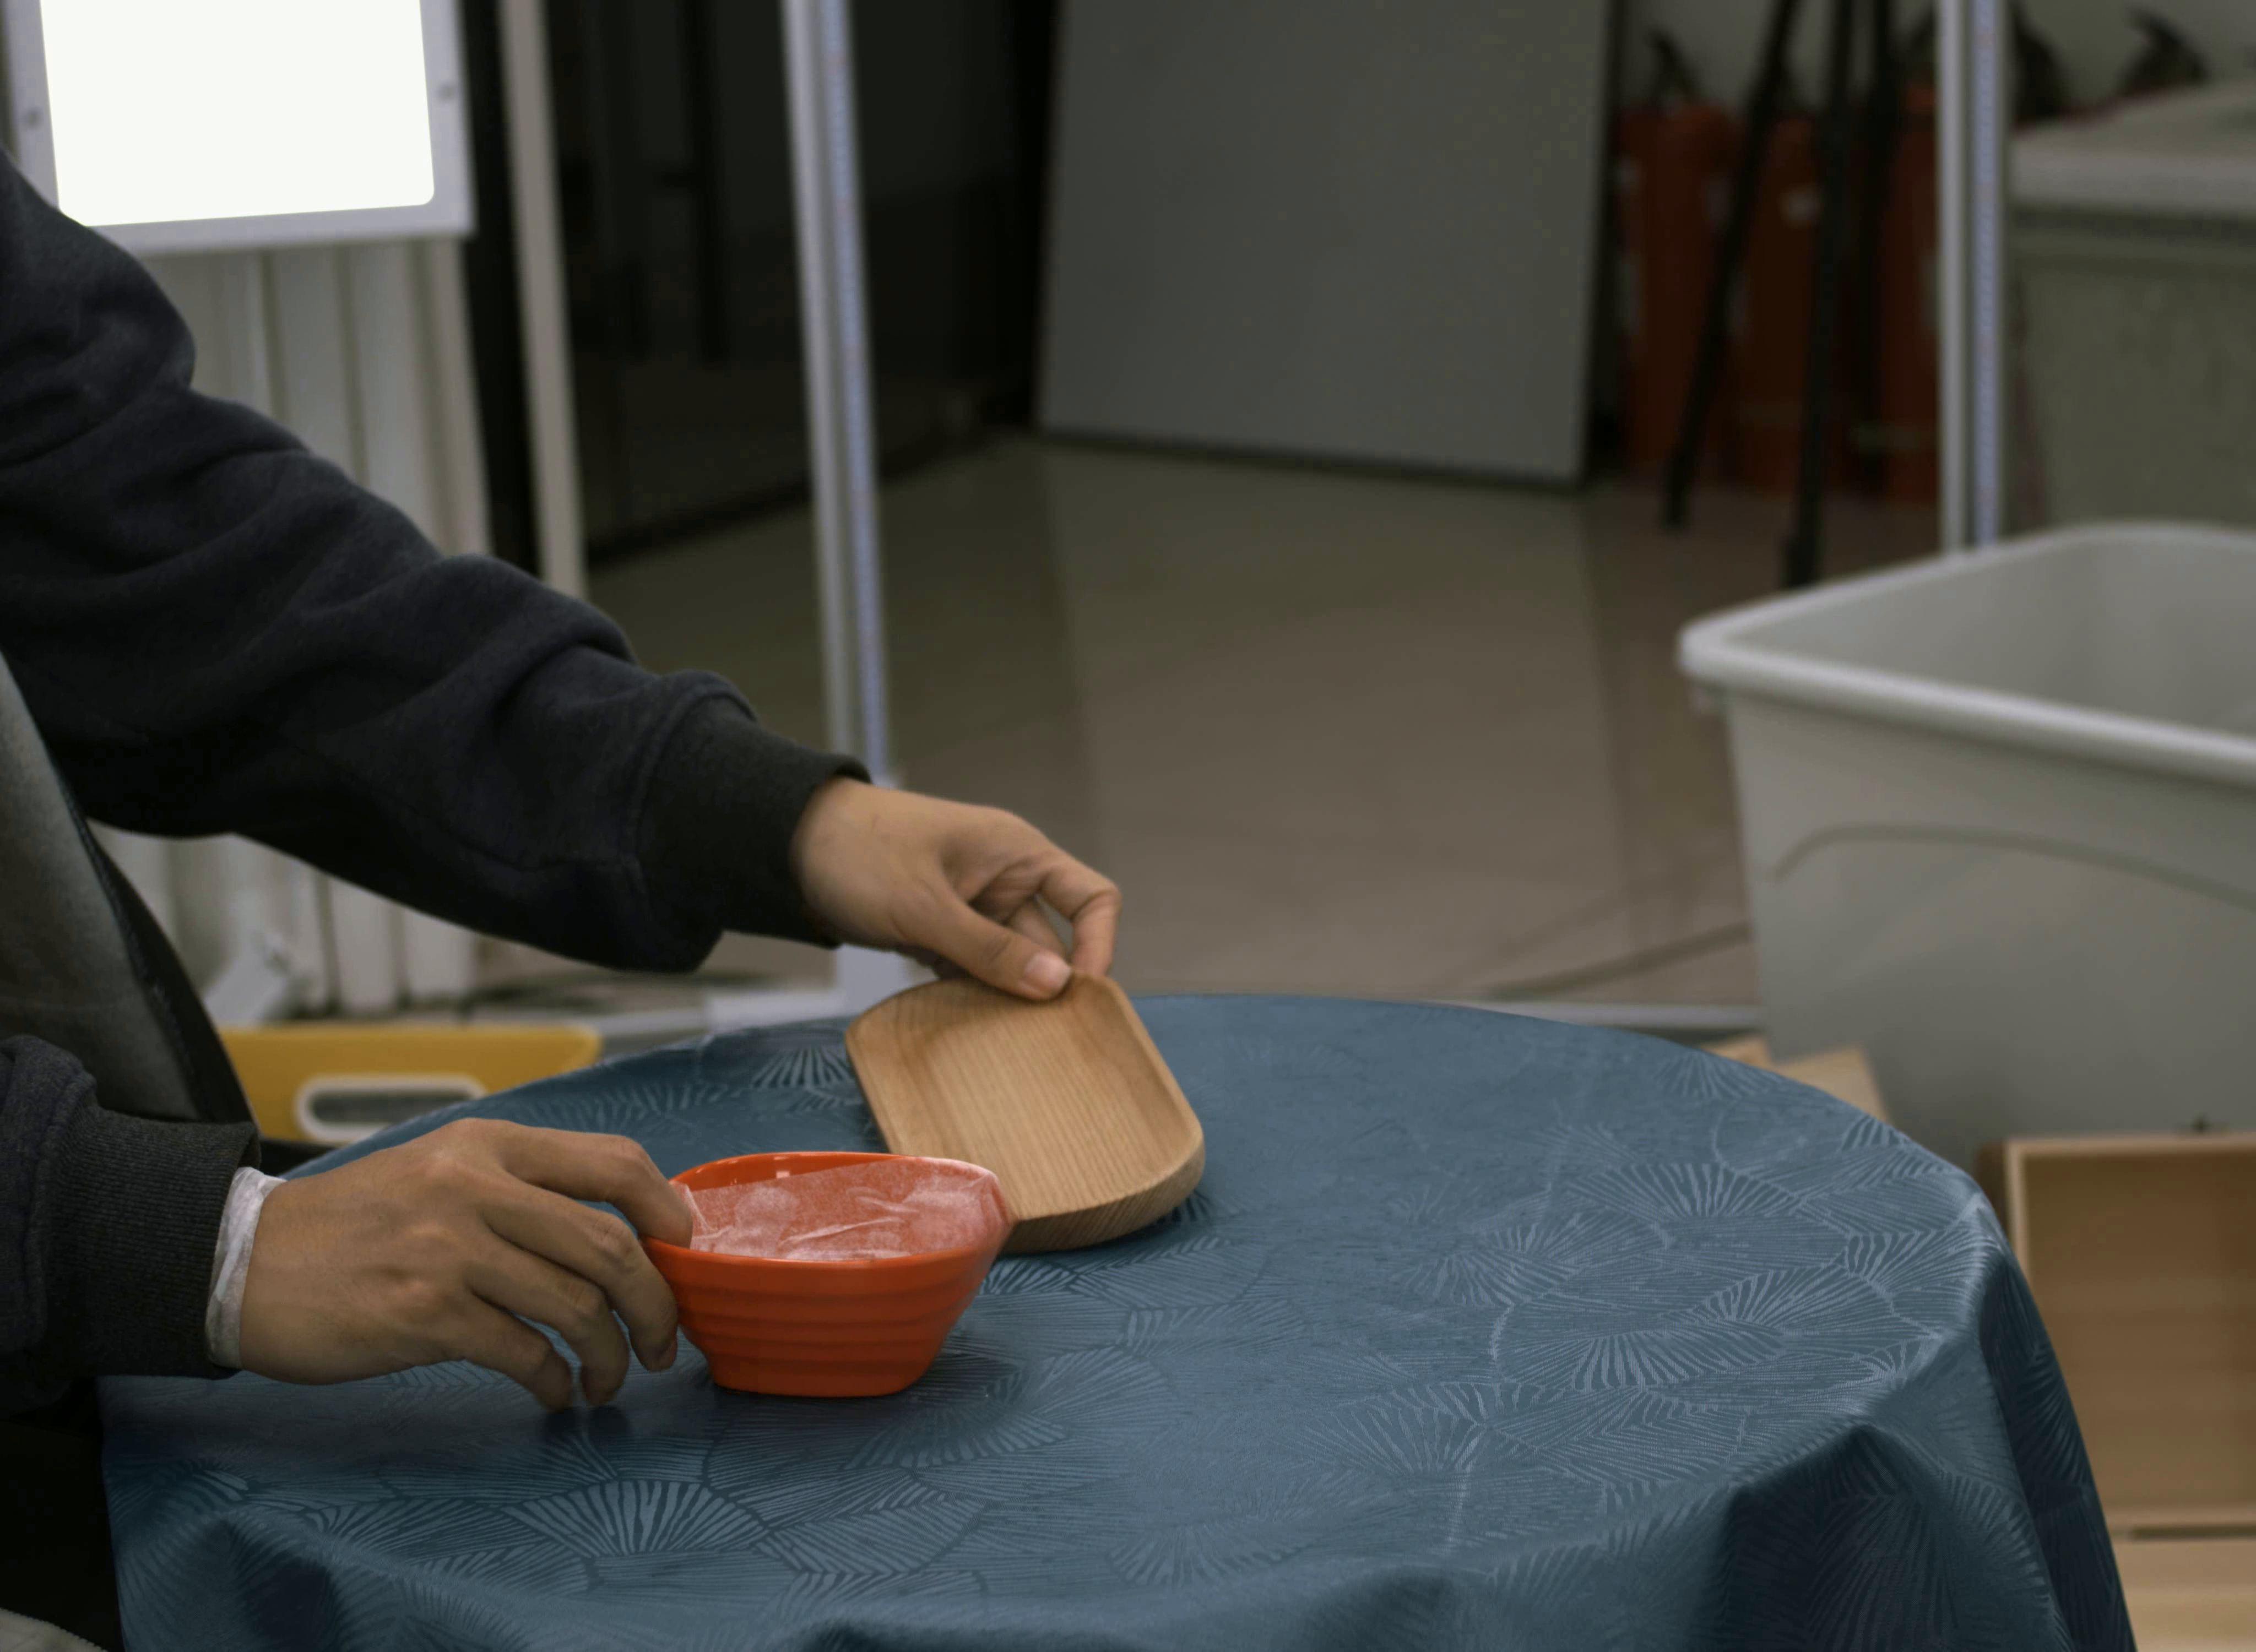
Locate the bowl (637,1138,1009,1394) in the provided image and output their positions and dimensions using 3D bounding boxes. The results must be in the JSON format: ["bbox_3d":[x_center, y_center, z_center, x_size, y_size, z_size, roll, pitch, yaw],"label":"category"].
[{"bbox_3d":[-0.091,0.134,1.617,0.117,0.052,0.119,0,15,-1],"label":"bowl"}]

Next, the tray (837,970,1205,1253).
[{"bbox_3d":[-0.037,0.094,1.818,0.100,0.020,0.233,-12,17,-9],"label":"tray"}]
